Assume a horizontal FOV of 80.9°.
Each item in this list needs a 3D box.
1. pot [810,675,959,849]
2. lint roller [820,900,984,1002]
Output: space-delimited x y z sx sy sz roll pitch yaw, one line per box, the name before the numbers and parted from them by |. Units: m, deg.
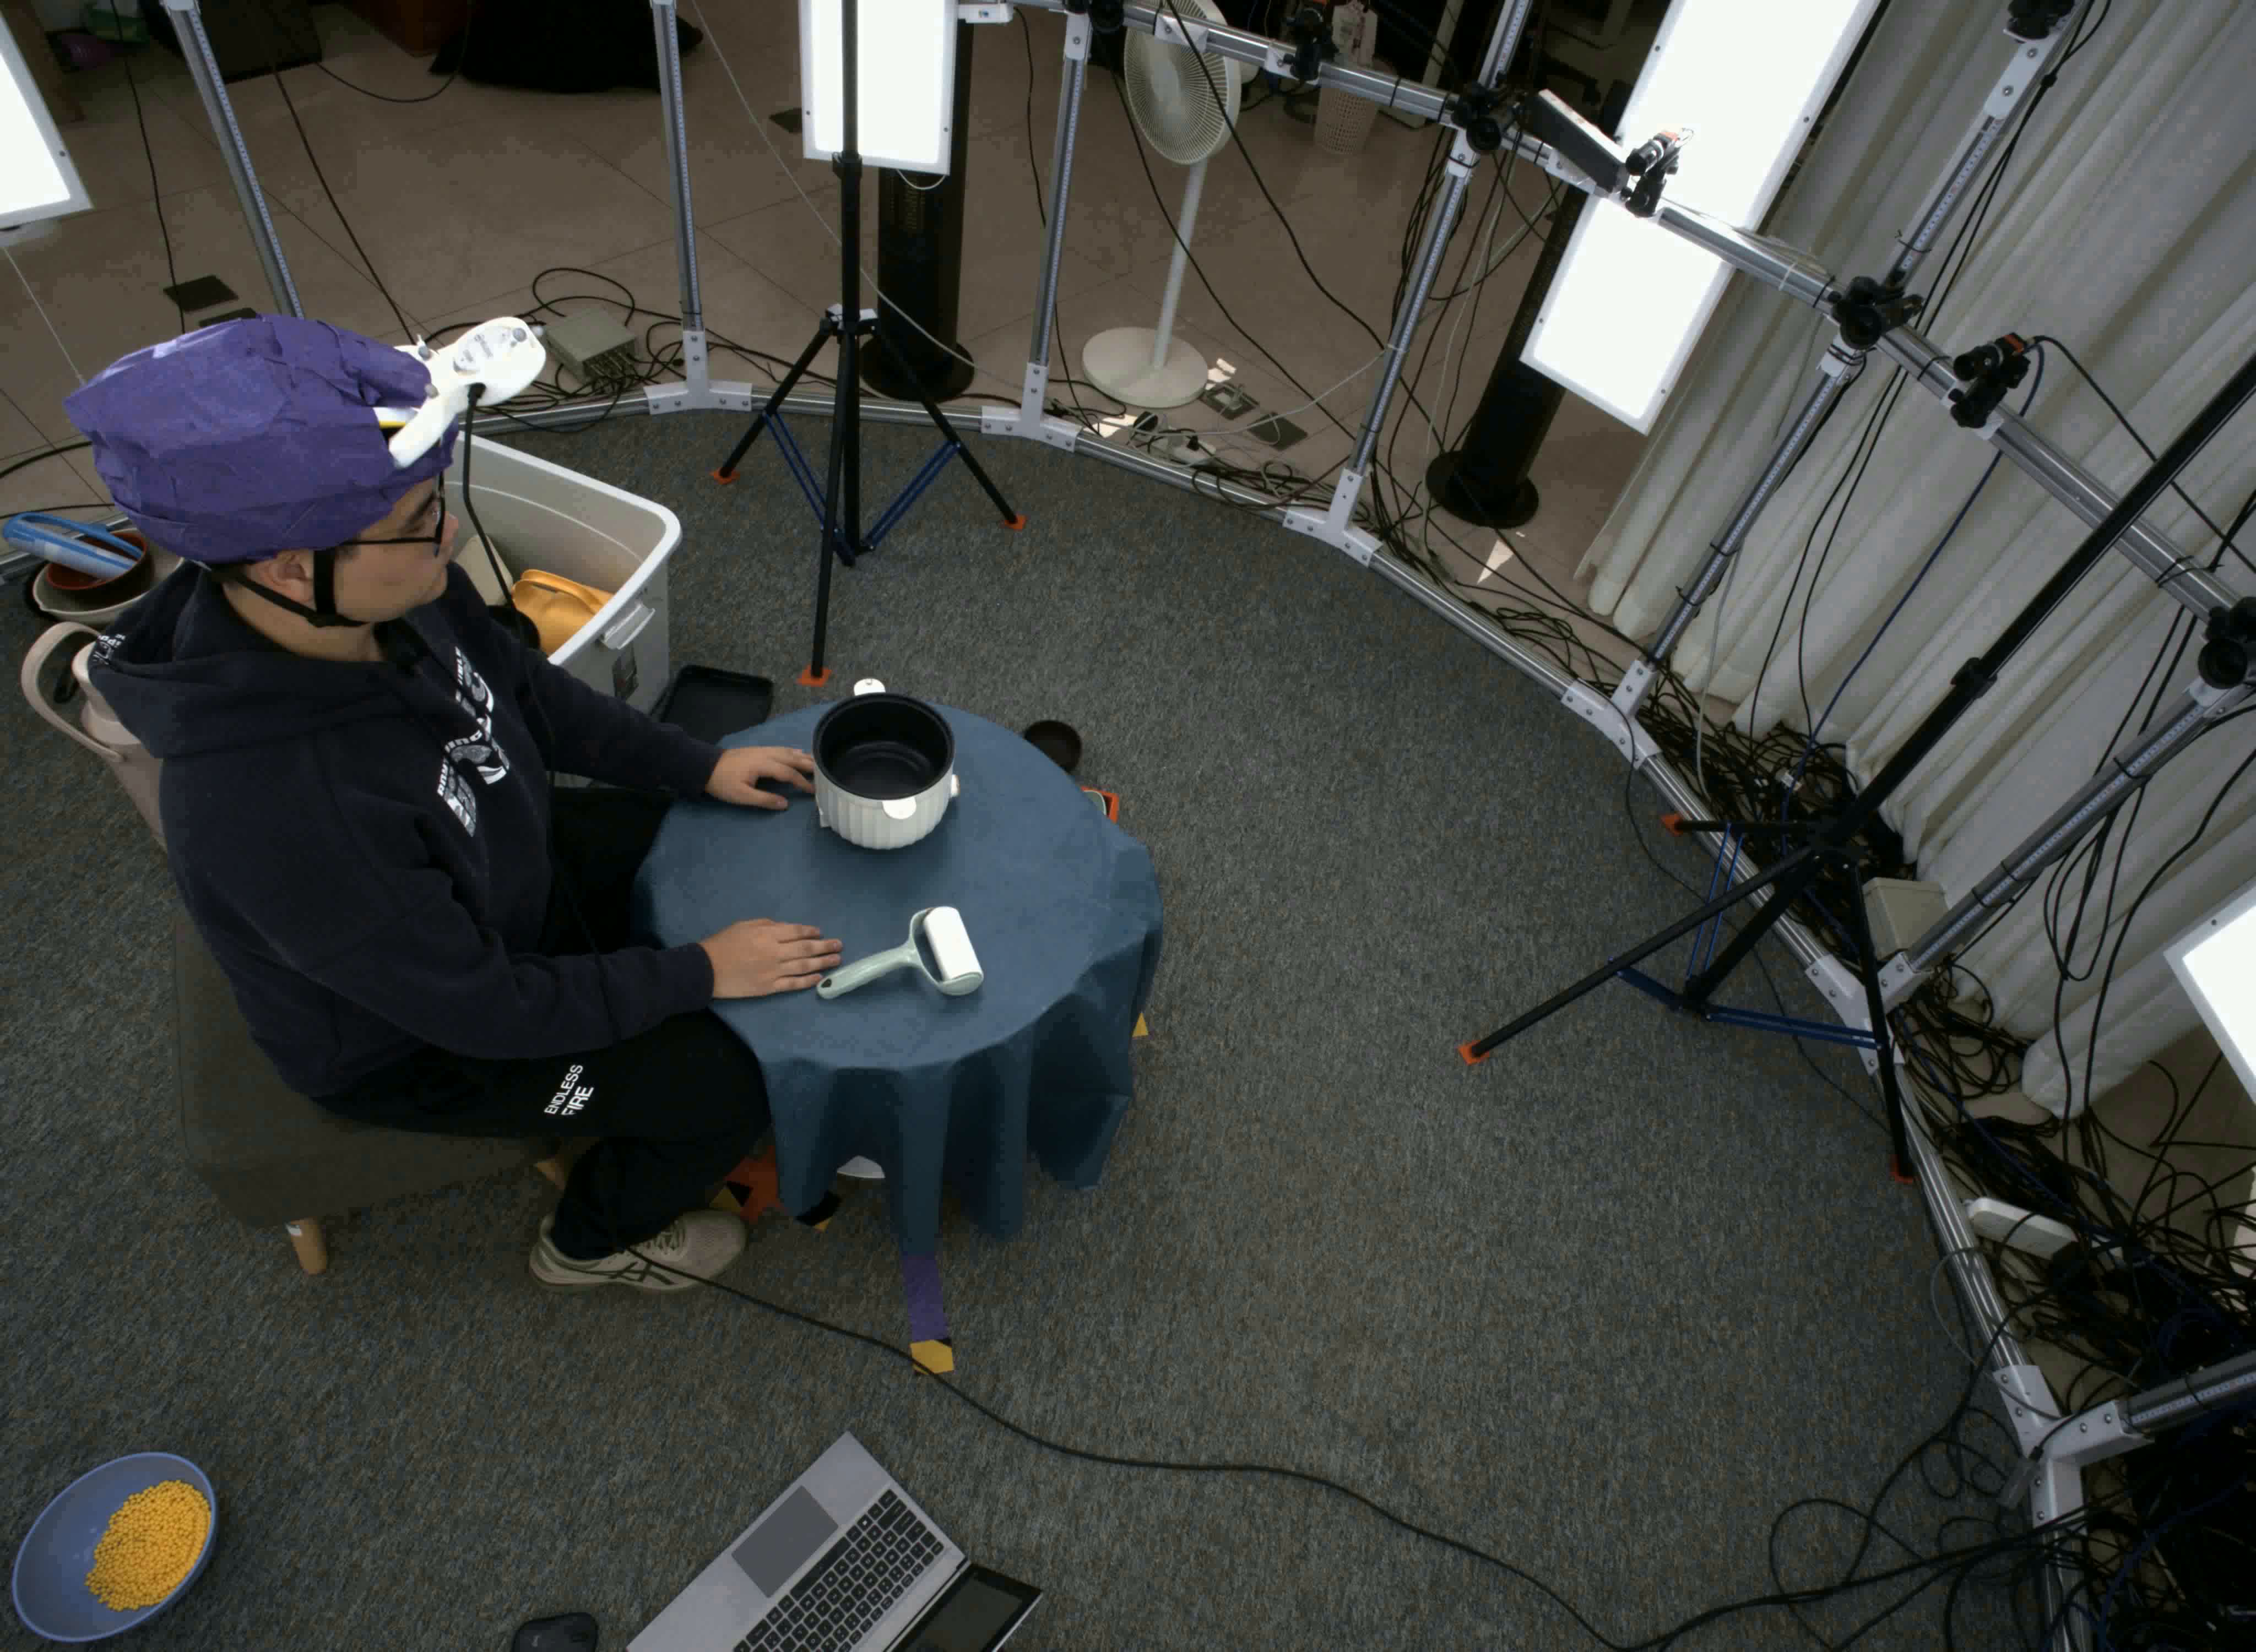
pot | -0.318 -0.070 1.709 0.191 0.146 0.235 -11 58 -17
lint roller | -0.286 0.165 1.604 0.198 0.049 0.114 -15 61 -21
